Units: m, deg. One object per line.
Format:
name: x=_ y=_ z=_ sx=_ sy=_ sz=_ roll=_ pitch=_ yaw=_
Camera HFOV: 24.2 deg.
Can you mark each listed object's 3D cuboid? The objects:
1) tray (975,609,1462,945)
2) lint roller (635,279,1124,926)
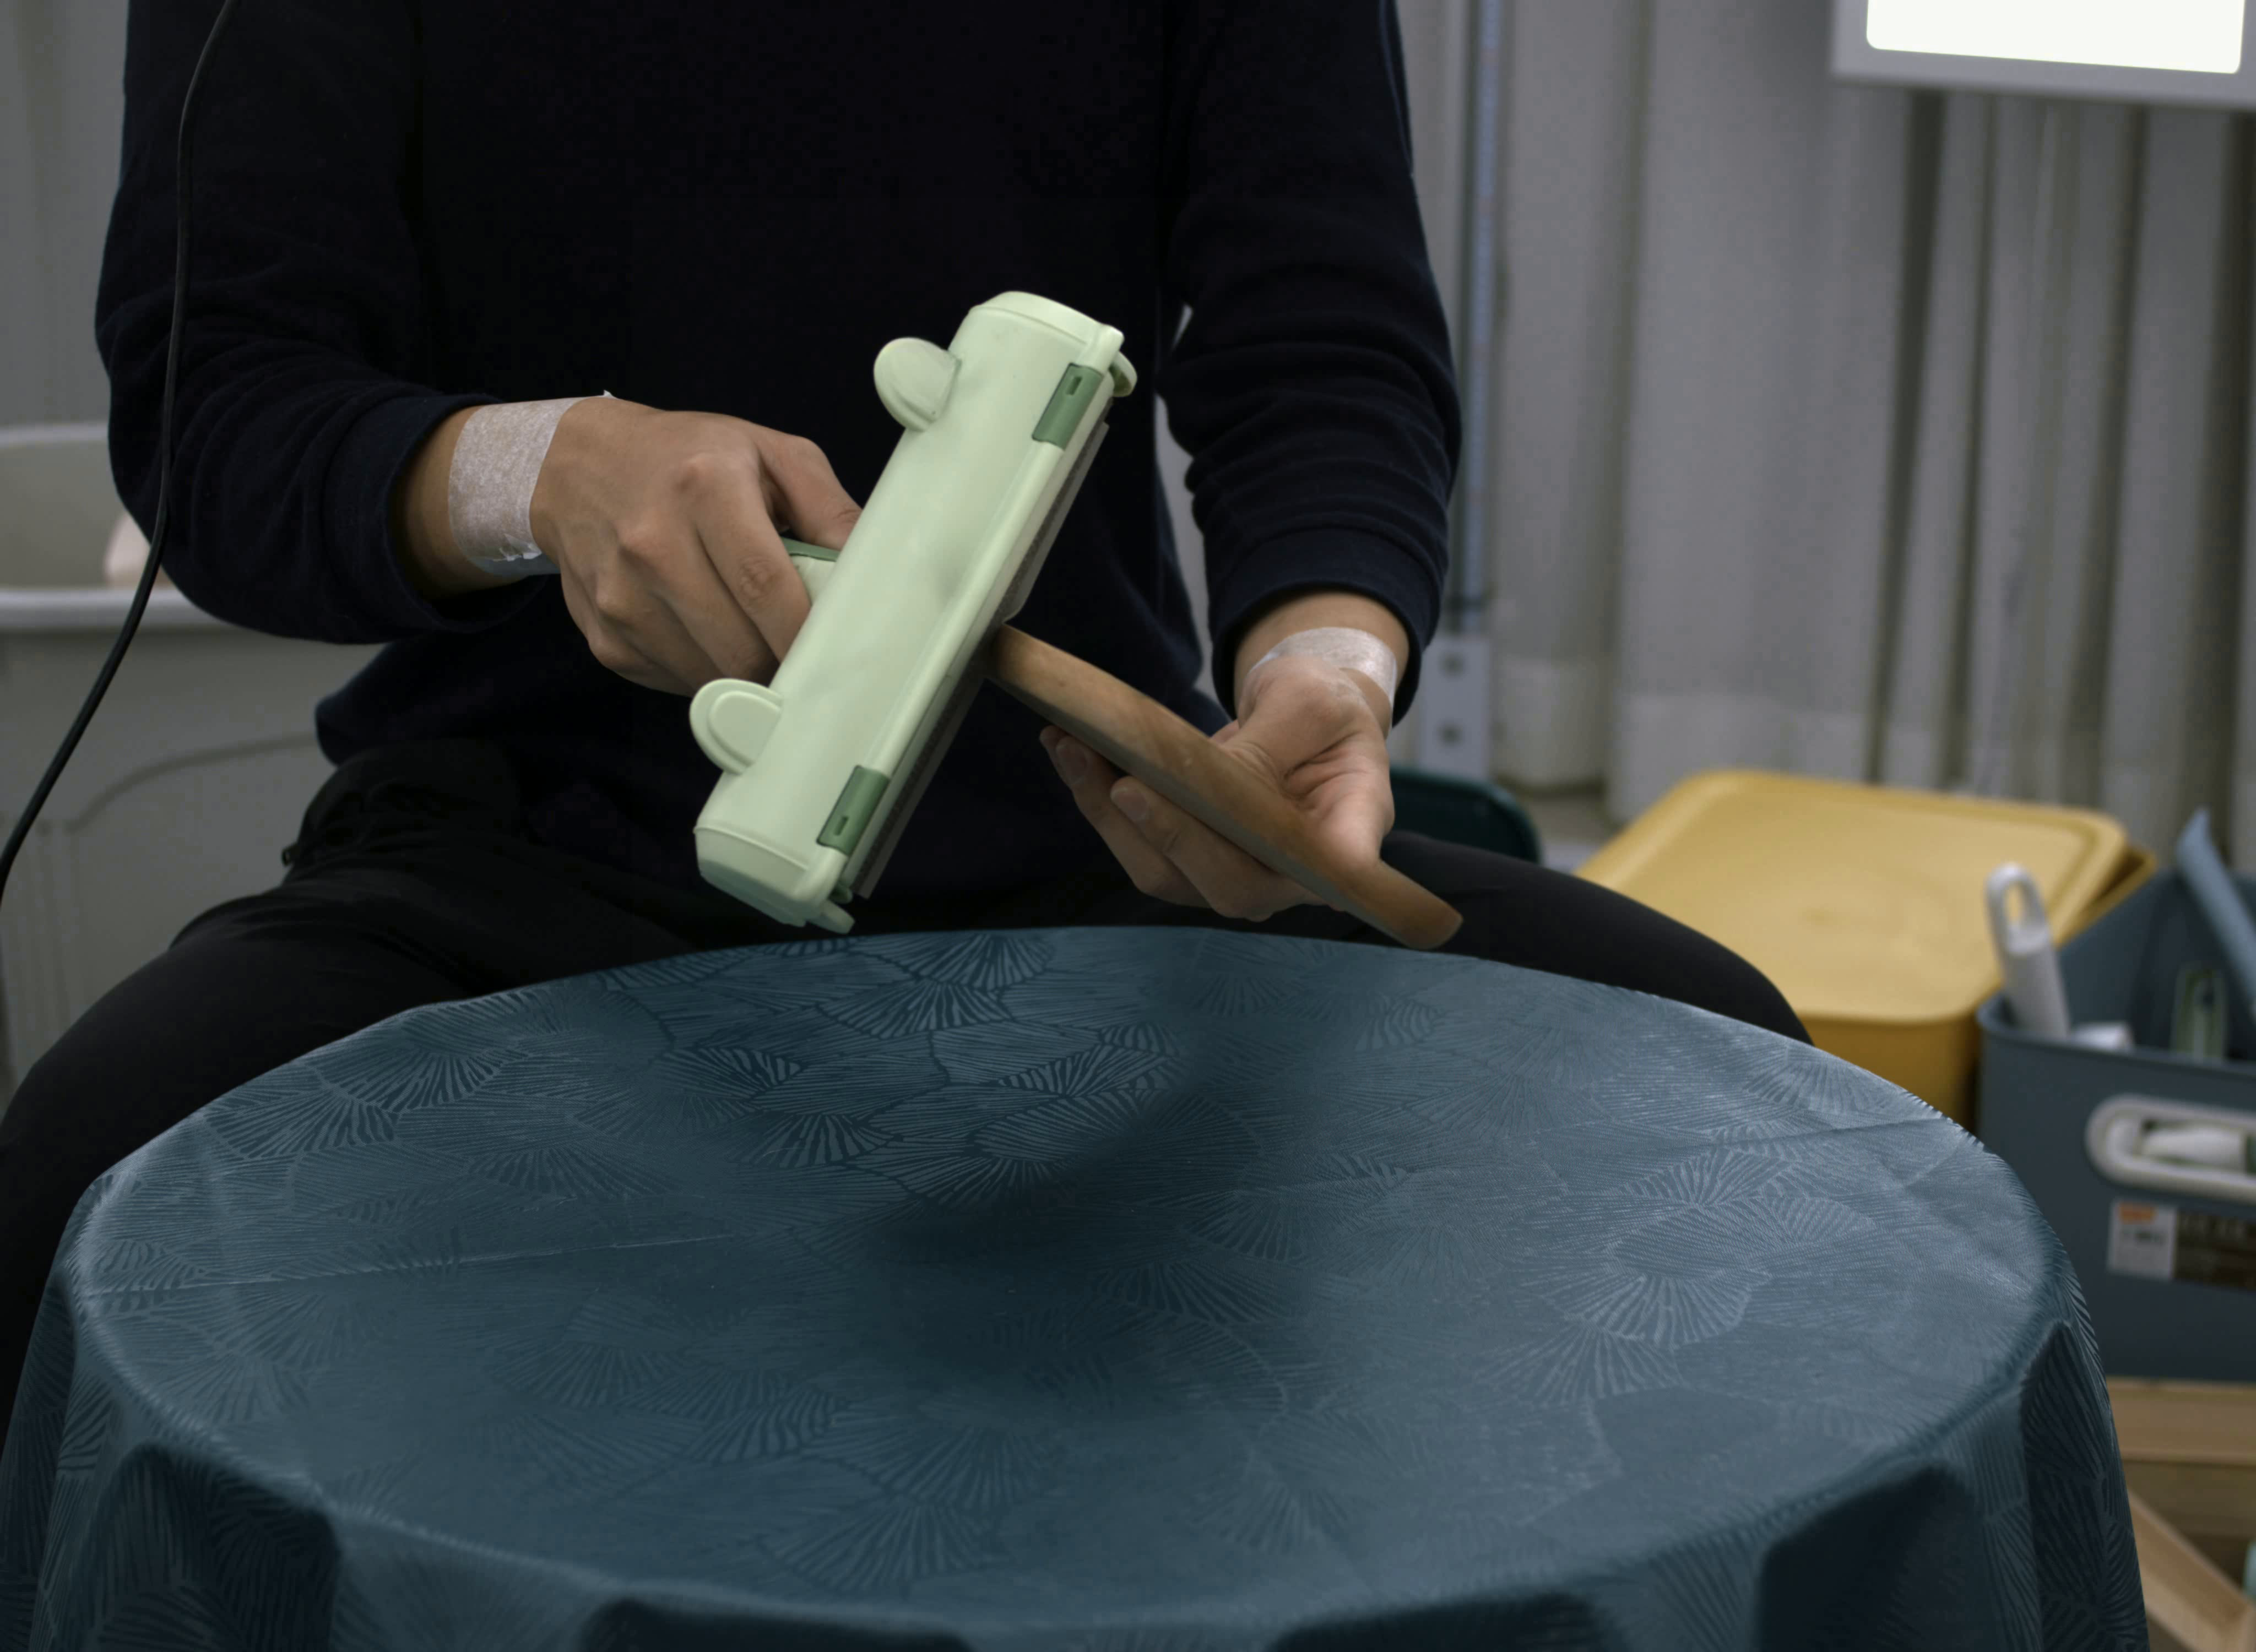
tray: x=0.016 y=-0.018 z=1.528 sx=0.131 sy=0.023 sz=0.249 roll=38 pitch=-2 yaw=-14
lint roller: x=-0.105 y=-0.078 z=1.564 sx=0.181 sy=0.198 sz=0.083 roll=15 pitch=-17 yaw=44
